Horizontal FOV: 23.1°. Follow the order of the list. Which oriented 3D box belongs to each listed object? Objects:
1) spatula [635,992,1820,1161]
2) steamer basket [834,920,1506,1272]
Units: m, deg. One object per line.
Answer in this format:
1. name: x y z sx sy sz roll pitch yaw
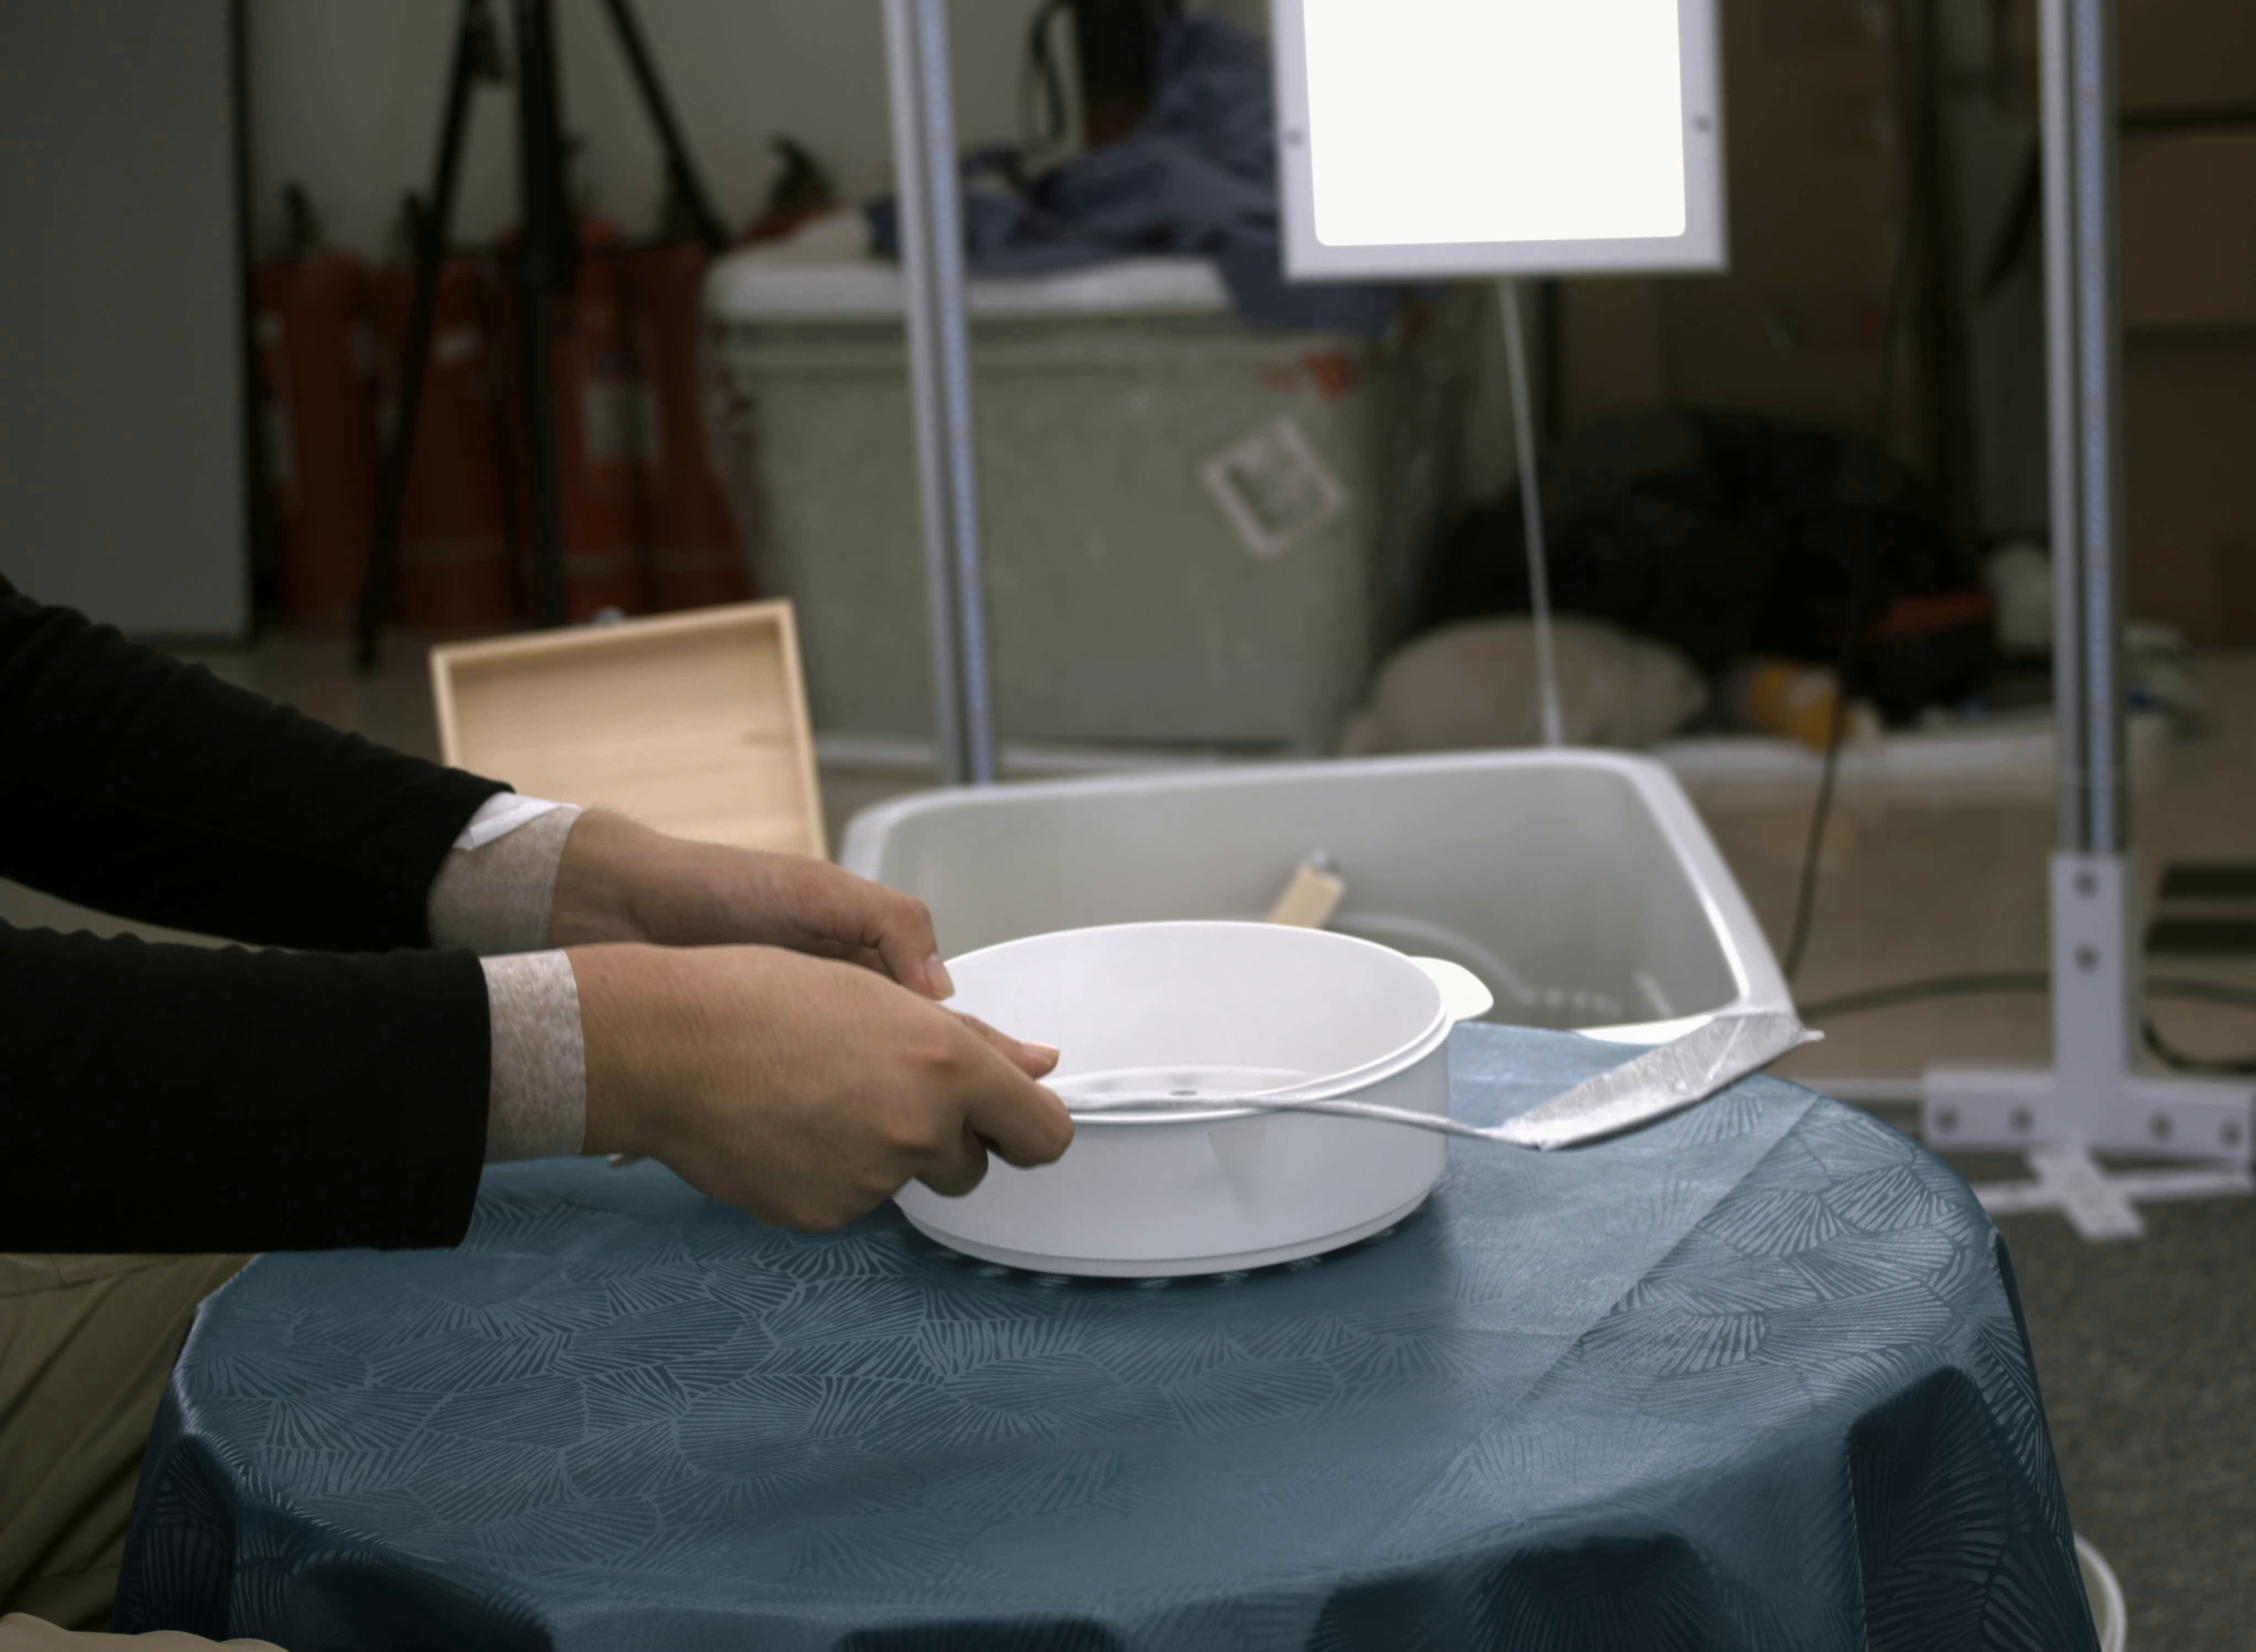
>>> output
1. spatula: 0.031 0.079 1.682 0.362 0.045 0.099 -1 6 -4
2. steamer basket: 0.017 0.092 1.873 0.228 0.069 0.203 -7 16 -10
